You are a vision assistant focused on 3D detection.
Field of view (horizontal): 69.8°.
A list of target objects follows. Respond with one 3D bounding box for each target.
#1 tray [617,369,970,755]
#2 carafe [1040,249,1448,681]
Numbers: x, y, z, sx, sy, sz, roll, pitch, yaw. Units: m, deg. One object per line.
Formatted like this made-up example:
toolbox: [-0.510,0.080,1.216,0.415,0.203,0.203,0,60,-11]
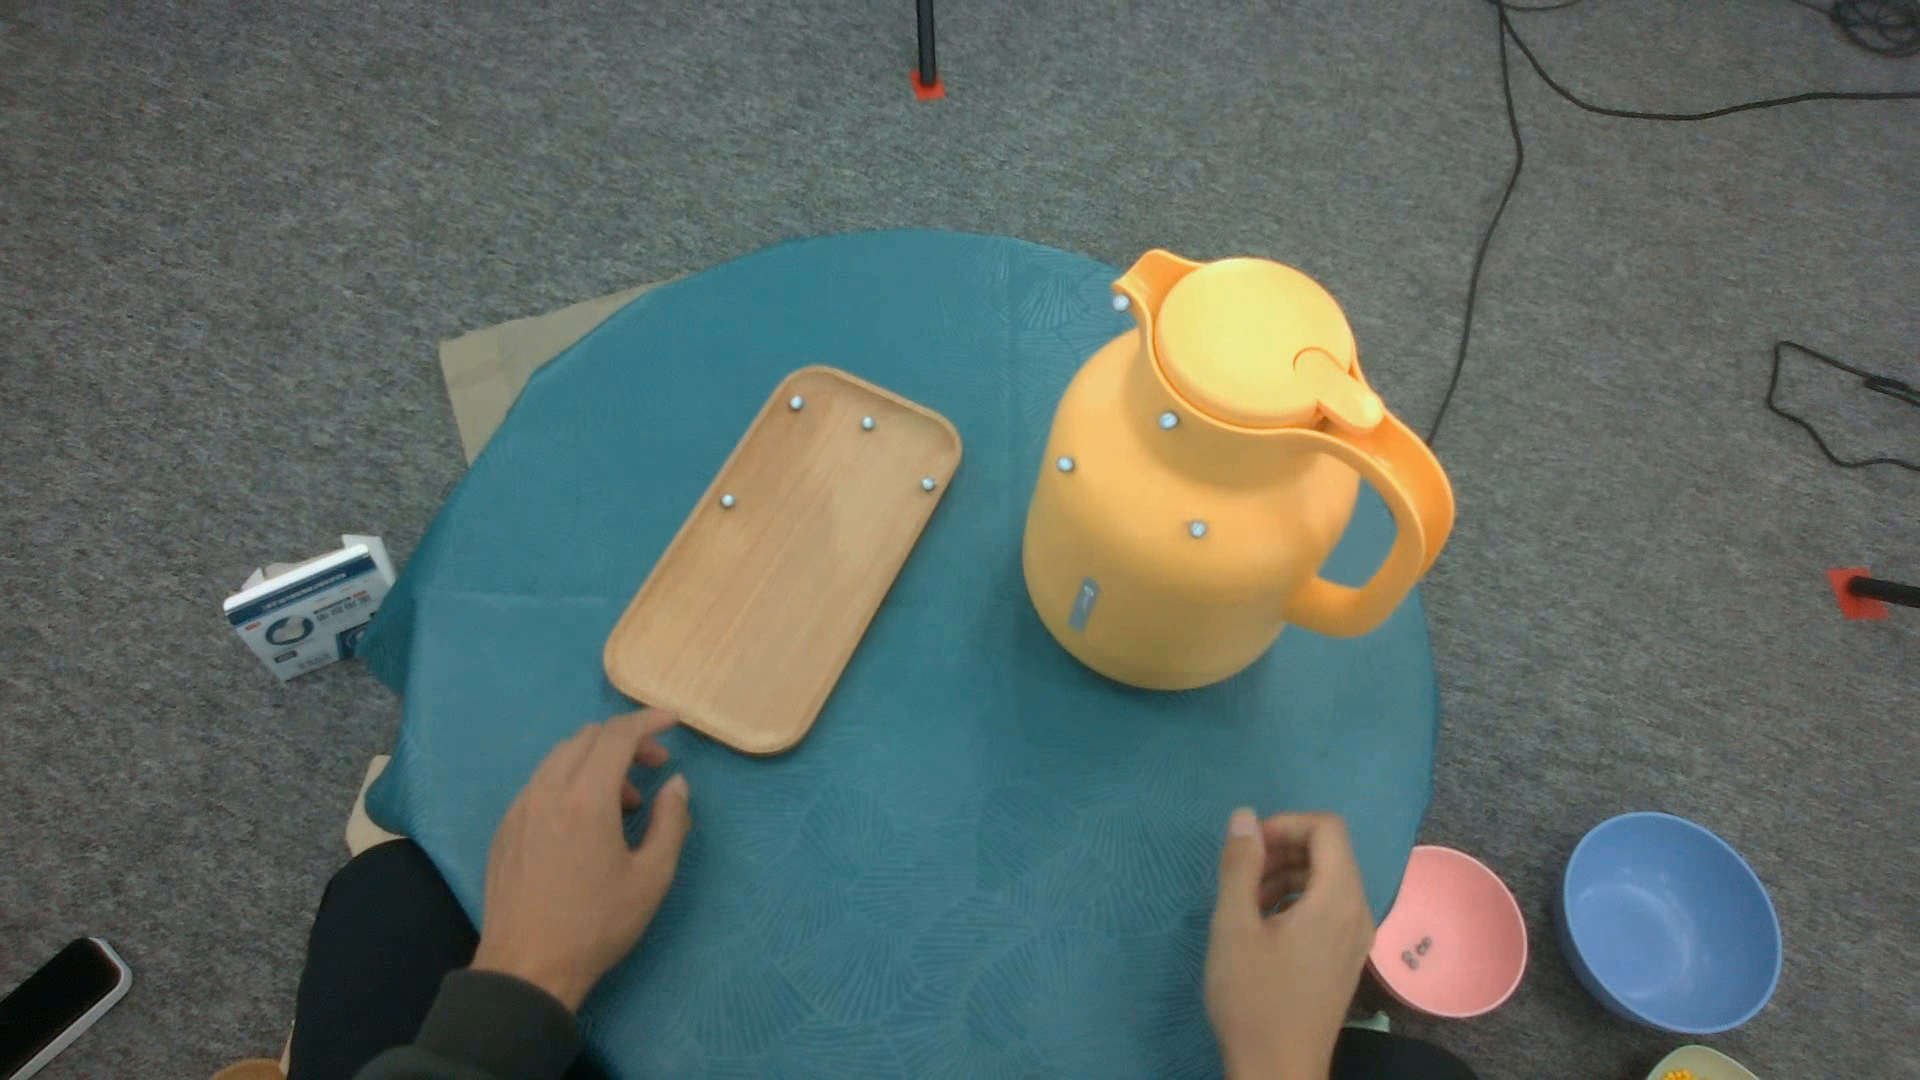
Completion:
tray: [-0.095,0.006,0.835,0.130,0.023,0.252,23,63,12]
carafe: [0.143,-0.026,0.729,0.202,0.259,0.164,40,69,18]
